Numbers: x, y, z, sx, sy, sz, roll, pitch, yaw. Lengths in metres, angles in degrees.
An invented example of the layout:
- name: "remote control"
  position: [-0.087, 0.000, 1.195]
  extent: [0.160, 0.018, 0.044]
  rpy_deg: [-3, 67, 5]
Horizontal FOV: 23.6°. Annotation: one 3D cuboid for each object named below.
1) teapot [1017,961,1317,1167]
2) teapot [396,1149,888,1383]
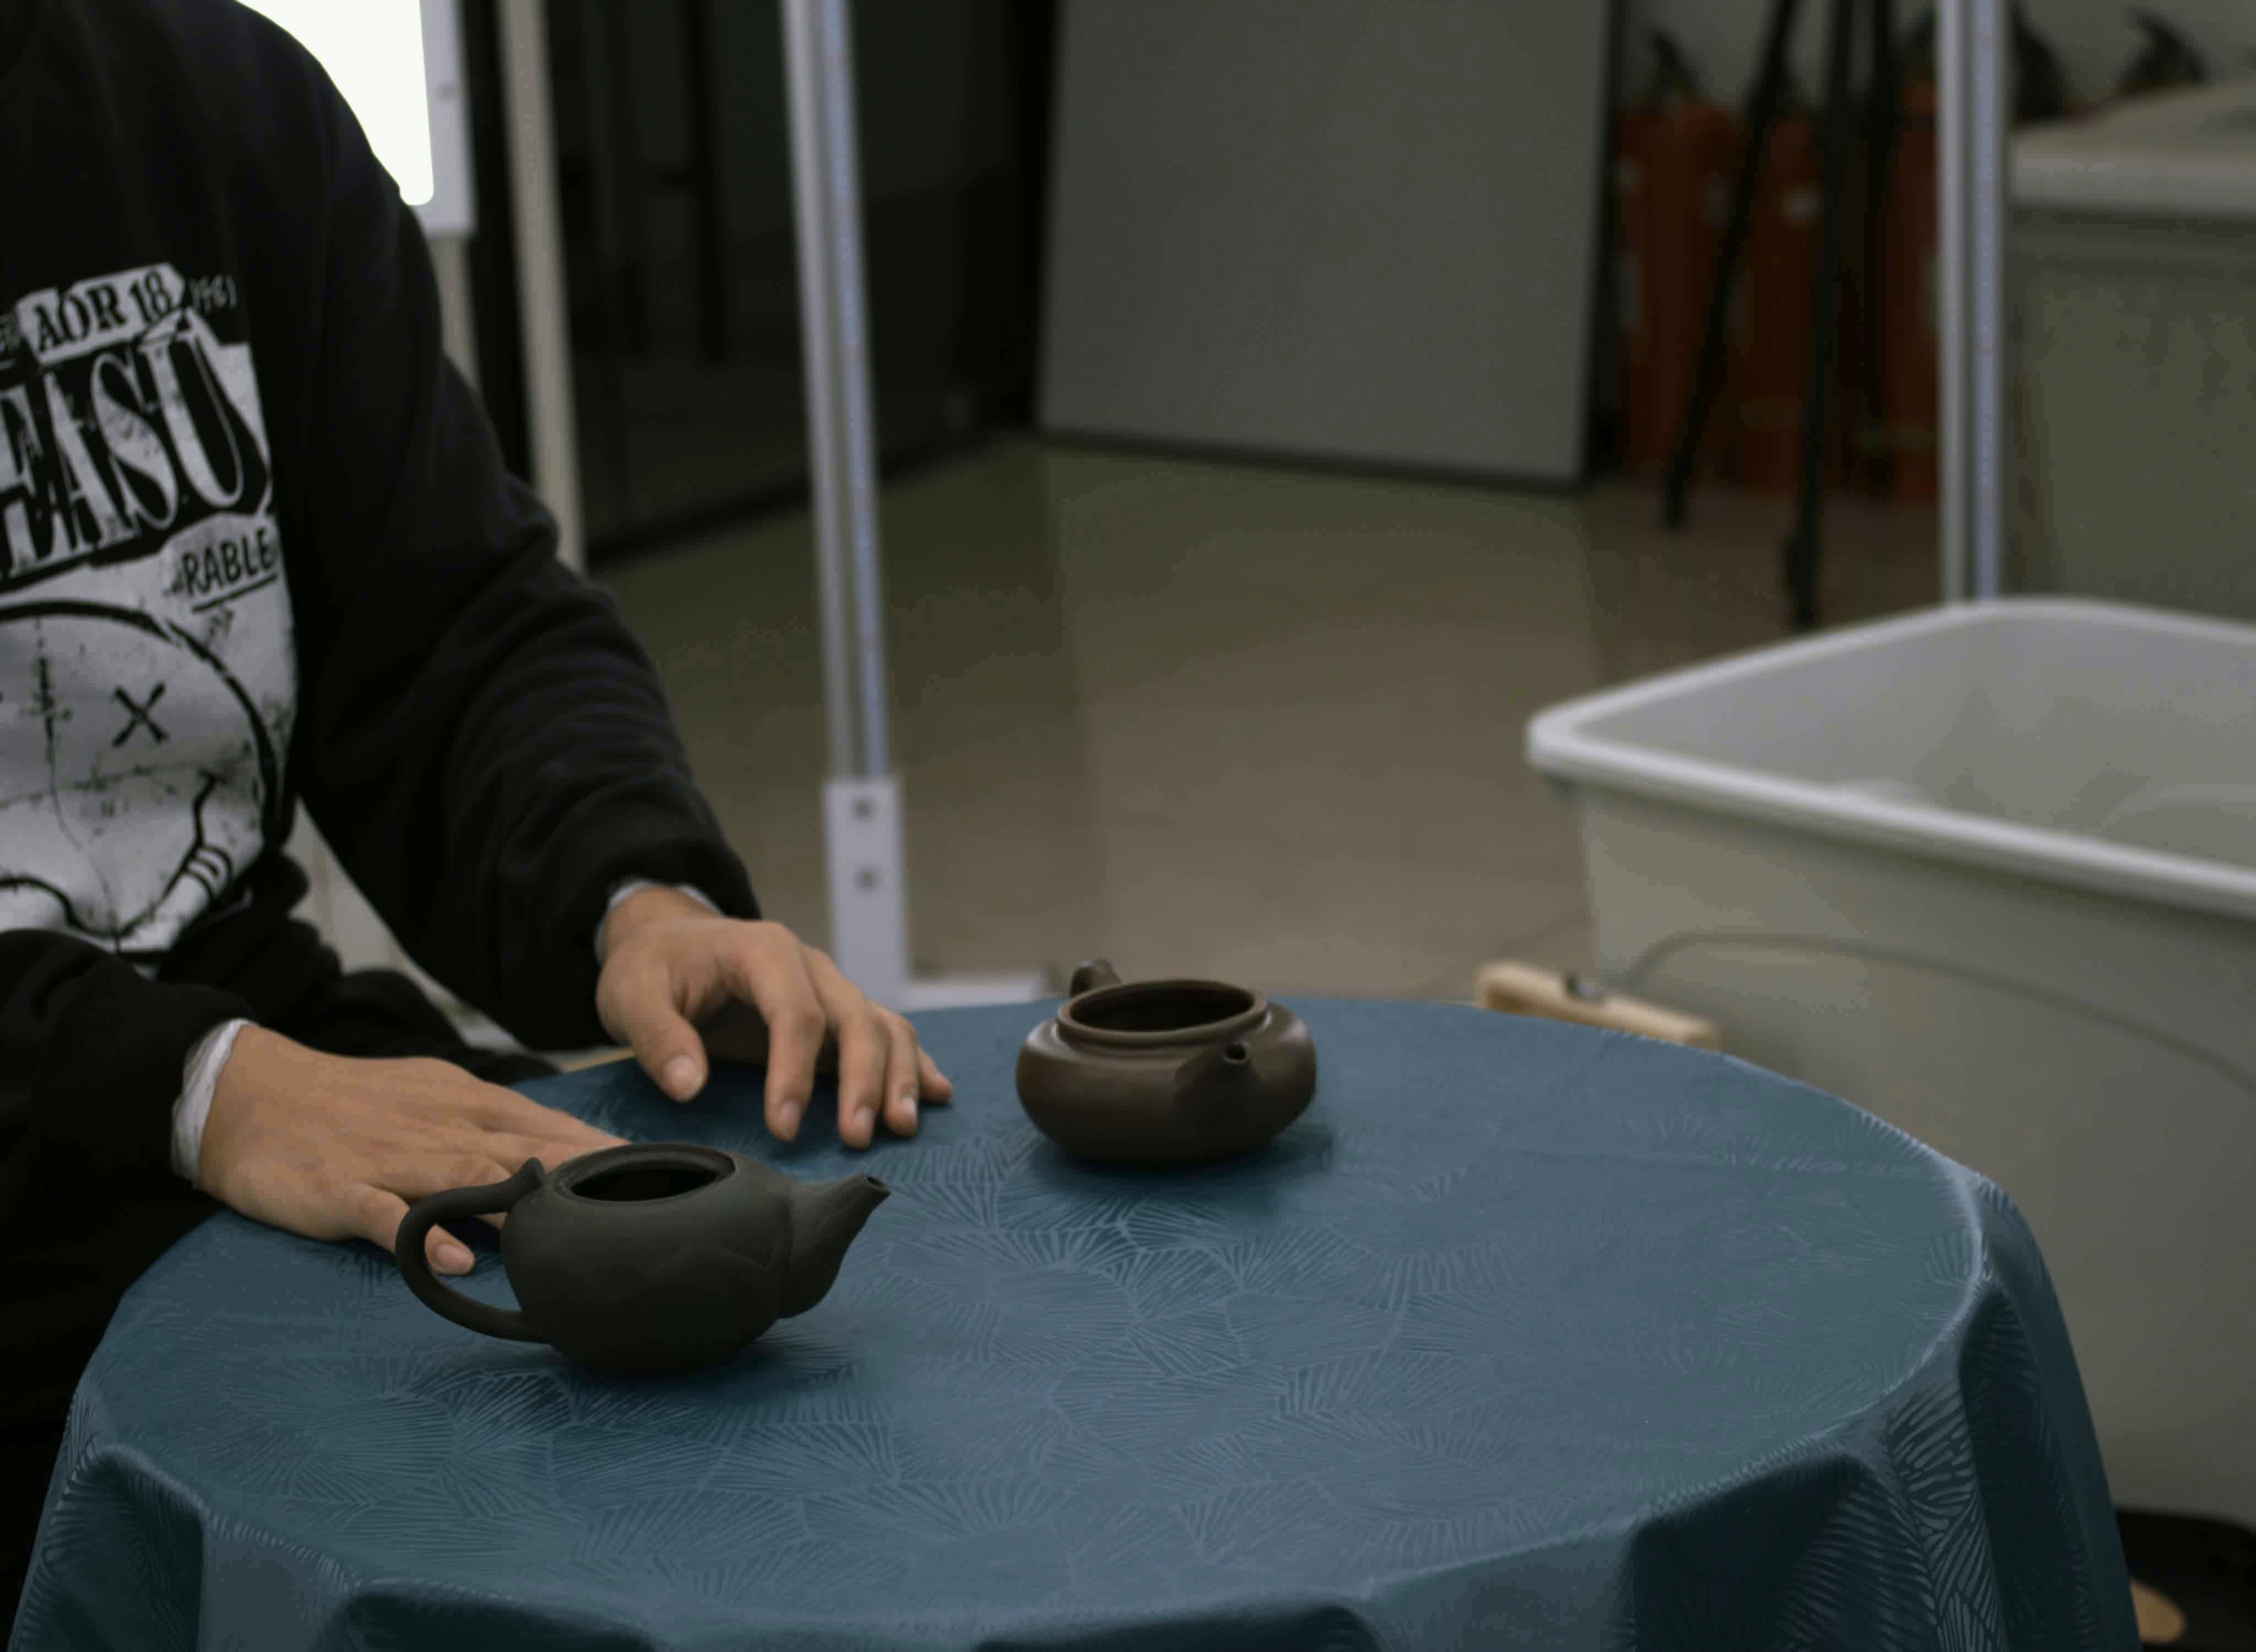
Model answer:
- name: "teapot"
  position: [0.011, 0.080, 1.821]
  extent: [0.100, 0.054, 0.155]
  rpy_deg: [-8, 15, -24]
- name: "teapot"
  position: [-0.147, 0.132, 1.645]
  extent: [0.153, 0.065, 0.092]
  rpy_deg: [-2, 12, 6]
